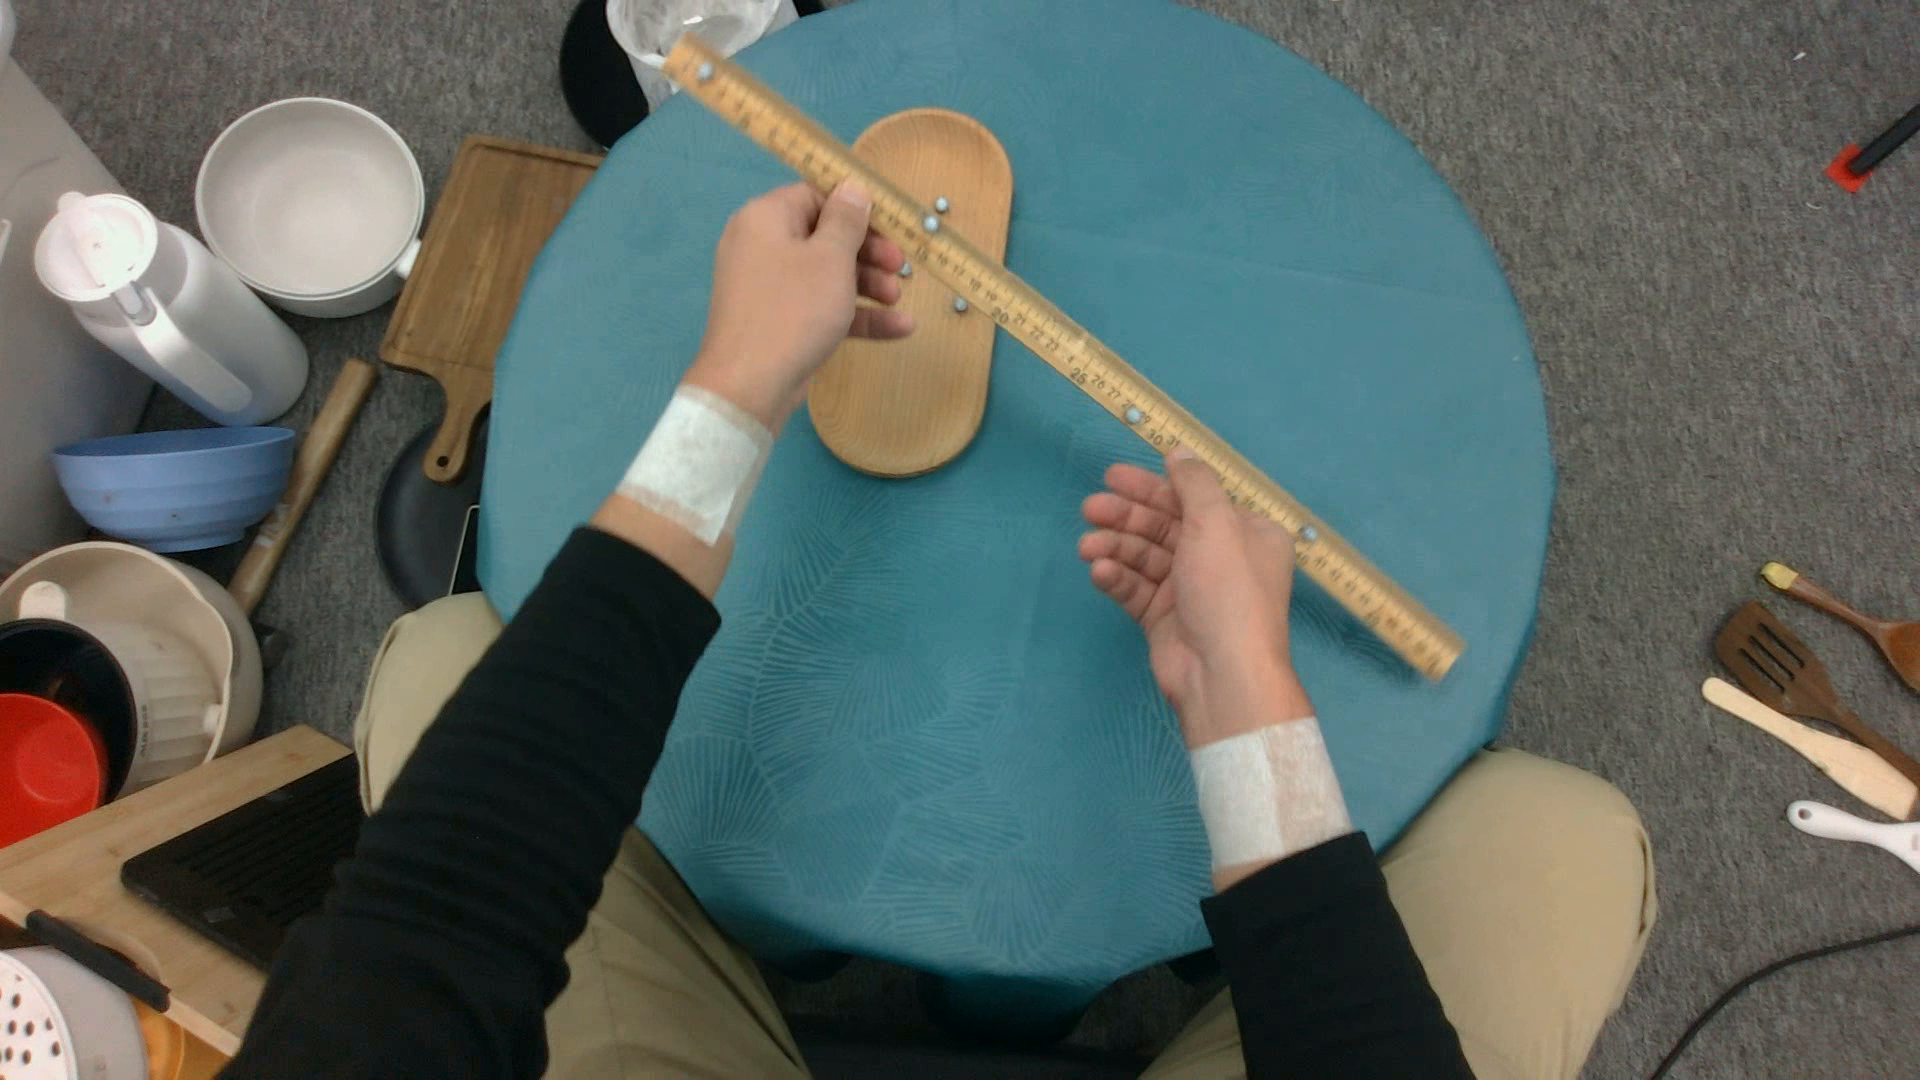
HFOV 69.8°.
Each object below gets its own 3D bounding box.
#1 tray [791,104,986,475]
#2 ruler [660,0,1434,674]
[{"bbox_3d":[-0.040,-0.147,0.791,0.101,0.020,0.231,4,75,1],"label":"tray"},{"bbox_3d":[0.053,-0.095,0.690,0.500,0.006,0.027,40,91,-8],"label":"ruler"}]
